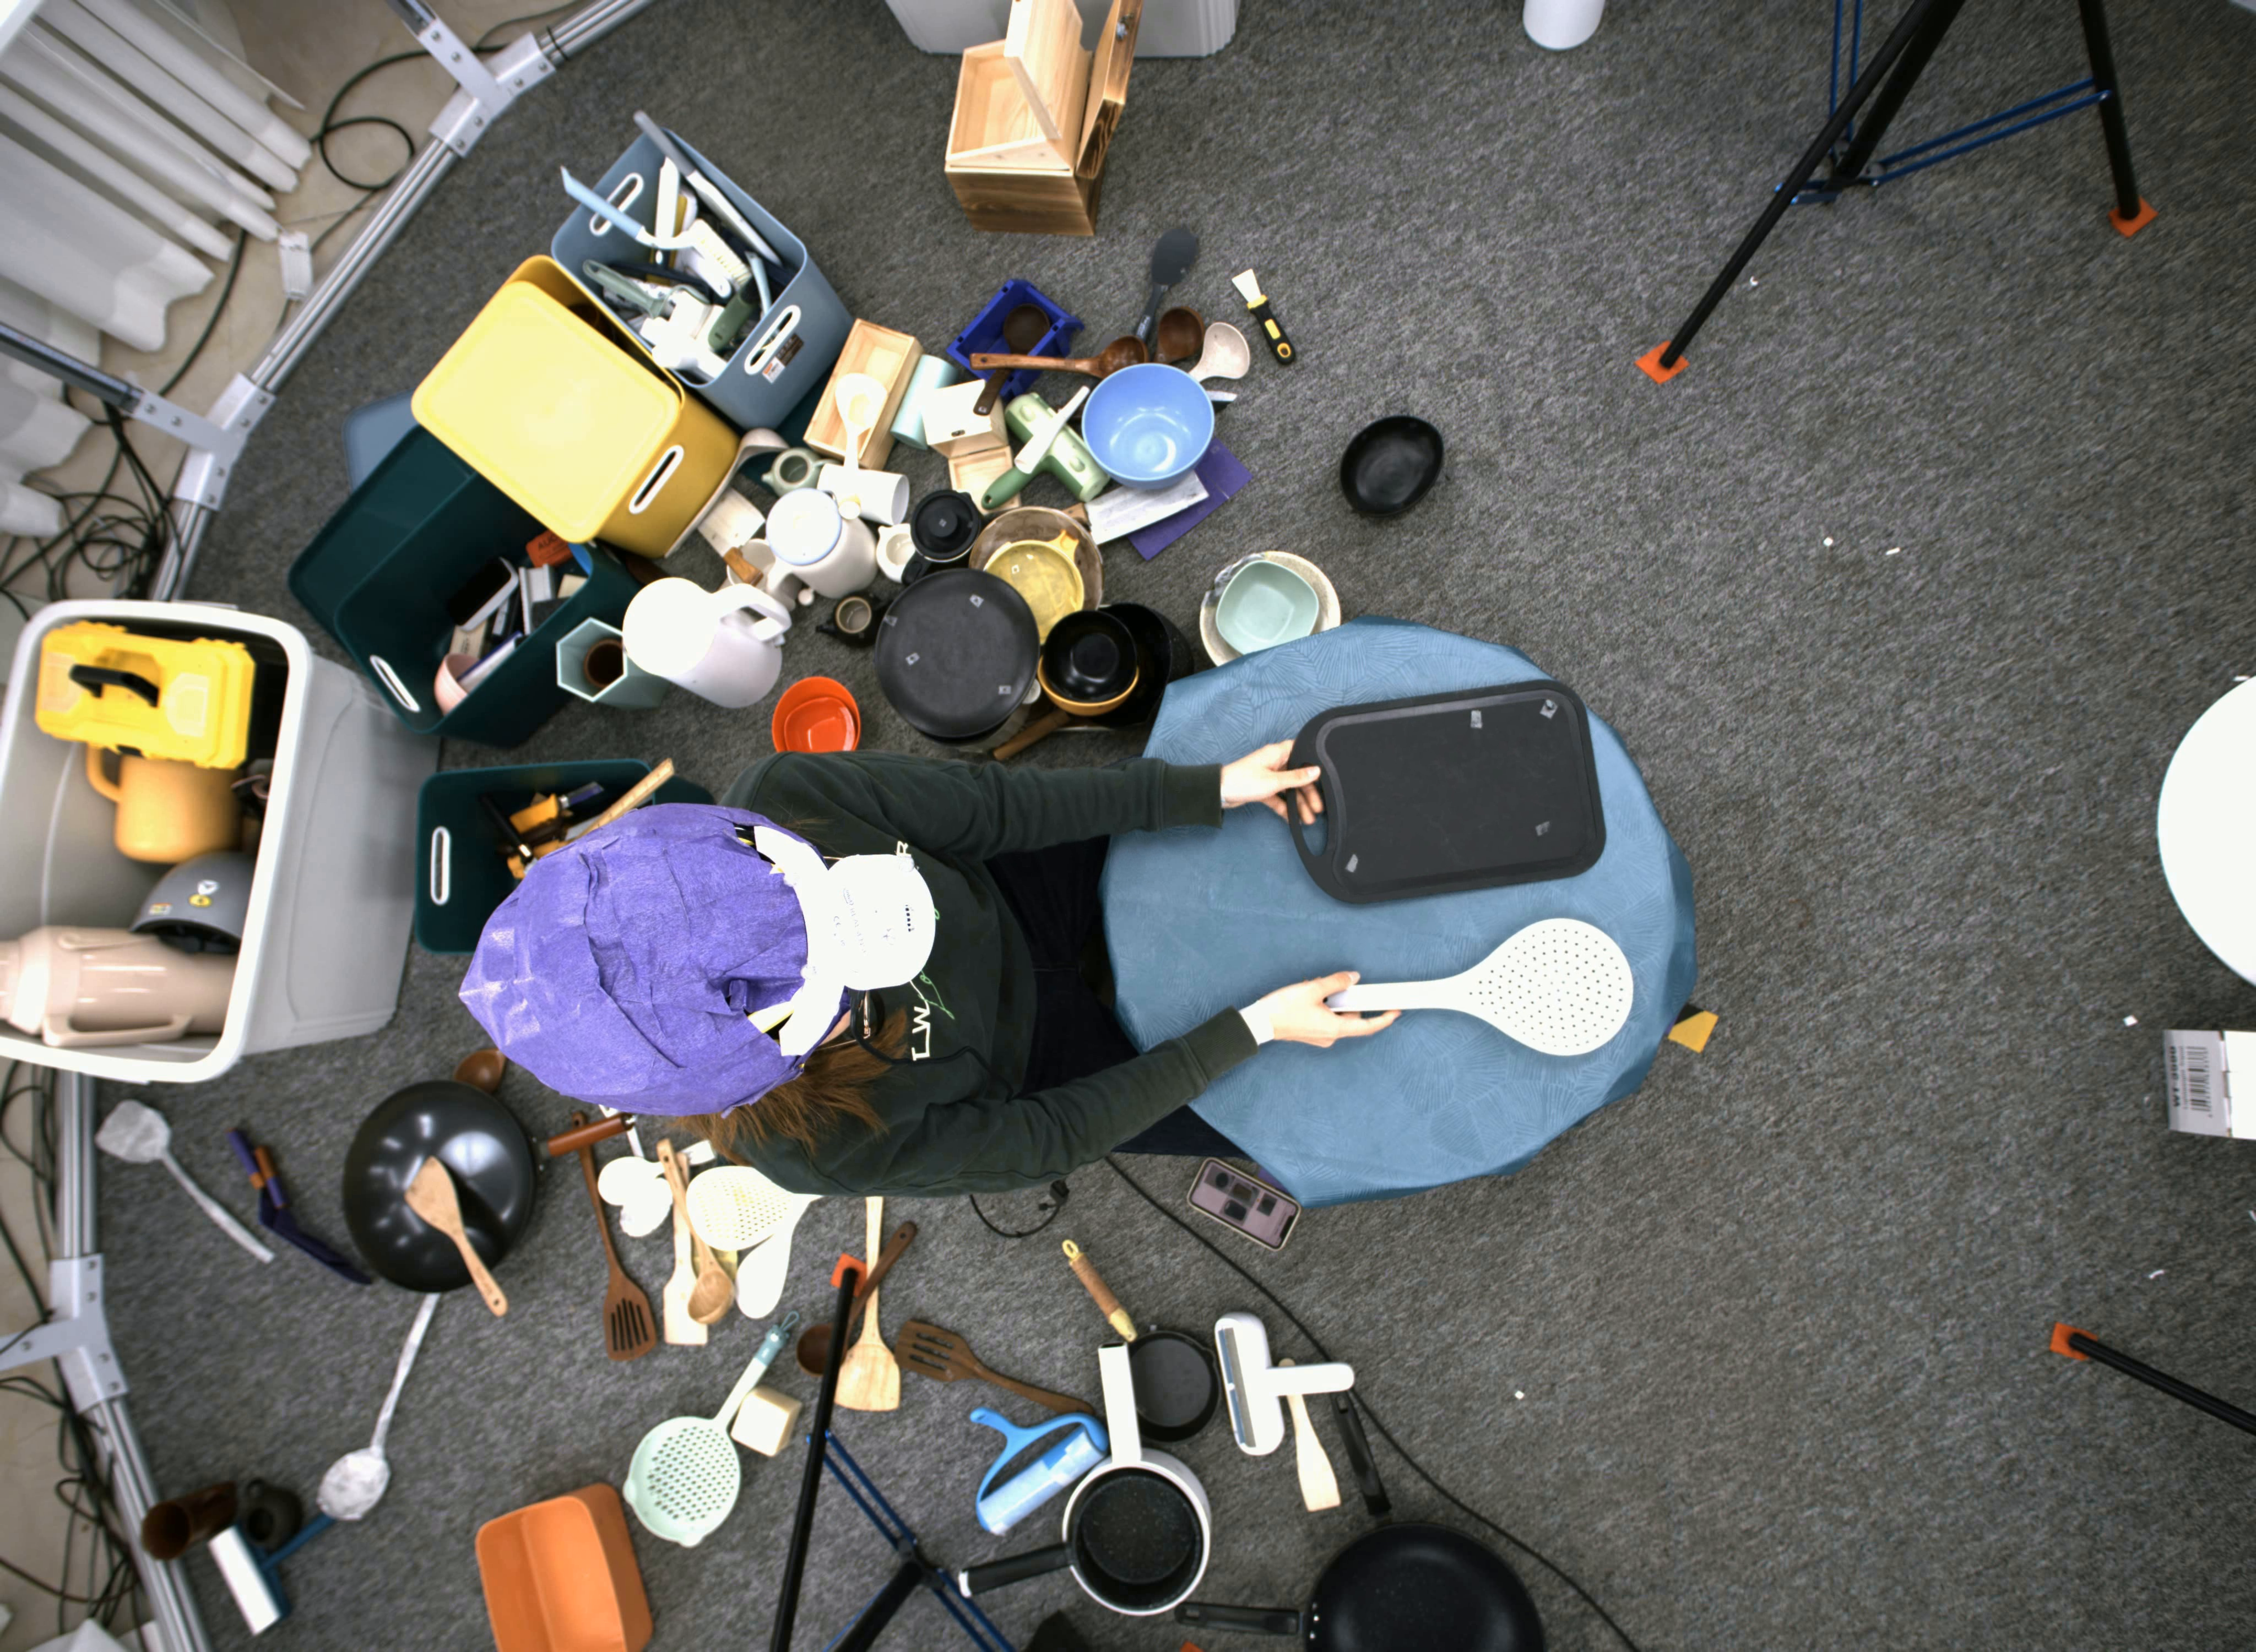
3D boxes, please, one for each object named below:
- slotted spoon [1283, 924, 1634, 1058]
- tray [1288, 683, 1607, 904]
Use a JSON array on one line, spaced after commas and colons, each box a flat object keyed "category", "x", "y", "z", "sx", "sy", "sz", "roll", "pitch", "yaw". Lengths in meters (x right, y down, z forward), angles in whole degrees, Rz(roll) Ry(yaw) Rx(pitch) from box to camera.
[{"category": "slotted spoon", "x": 0.335, "y": 0.172, "z": 1.415, "sx": 0.351, "sy": 0.046, "sz": 0.134, "roll": -3, "pitch": 78, "yaw": 7}, {"category": "tray", "x": 0.331, "y": -0.035, "z": 1.442, "sx": 0.326, "sy": 0.010, "sz": 0.210, "roll": -7, "pitch": 86, "yaw": 5}]
